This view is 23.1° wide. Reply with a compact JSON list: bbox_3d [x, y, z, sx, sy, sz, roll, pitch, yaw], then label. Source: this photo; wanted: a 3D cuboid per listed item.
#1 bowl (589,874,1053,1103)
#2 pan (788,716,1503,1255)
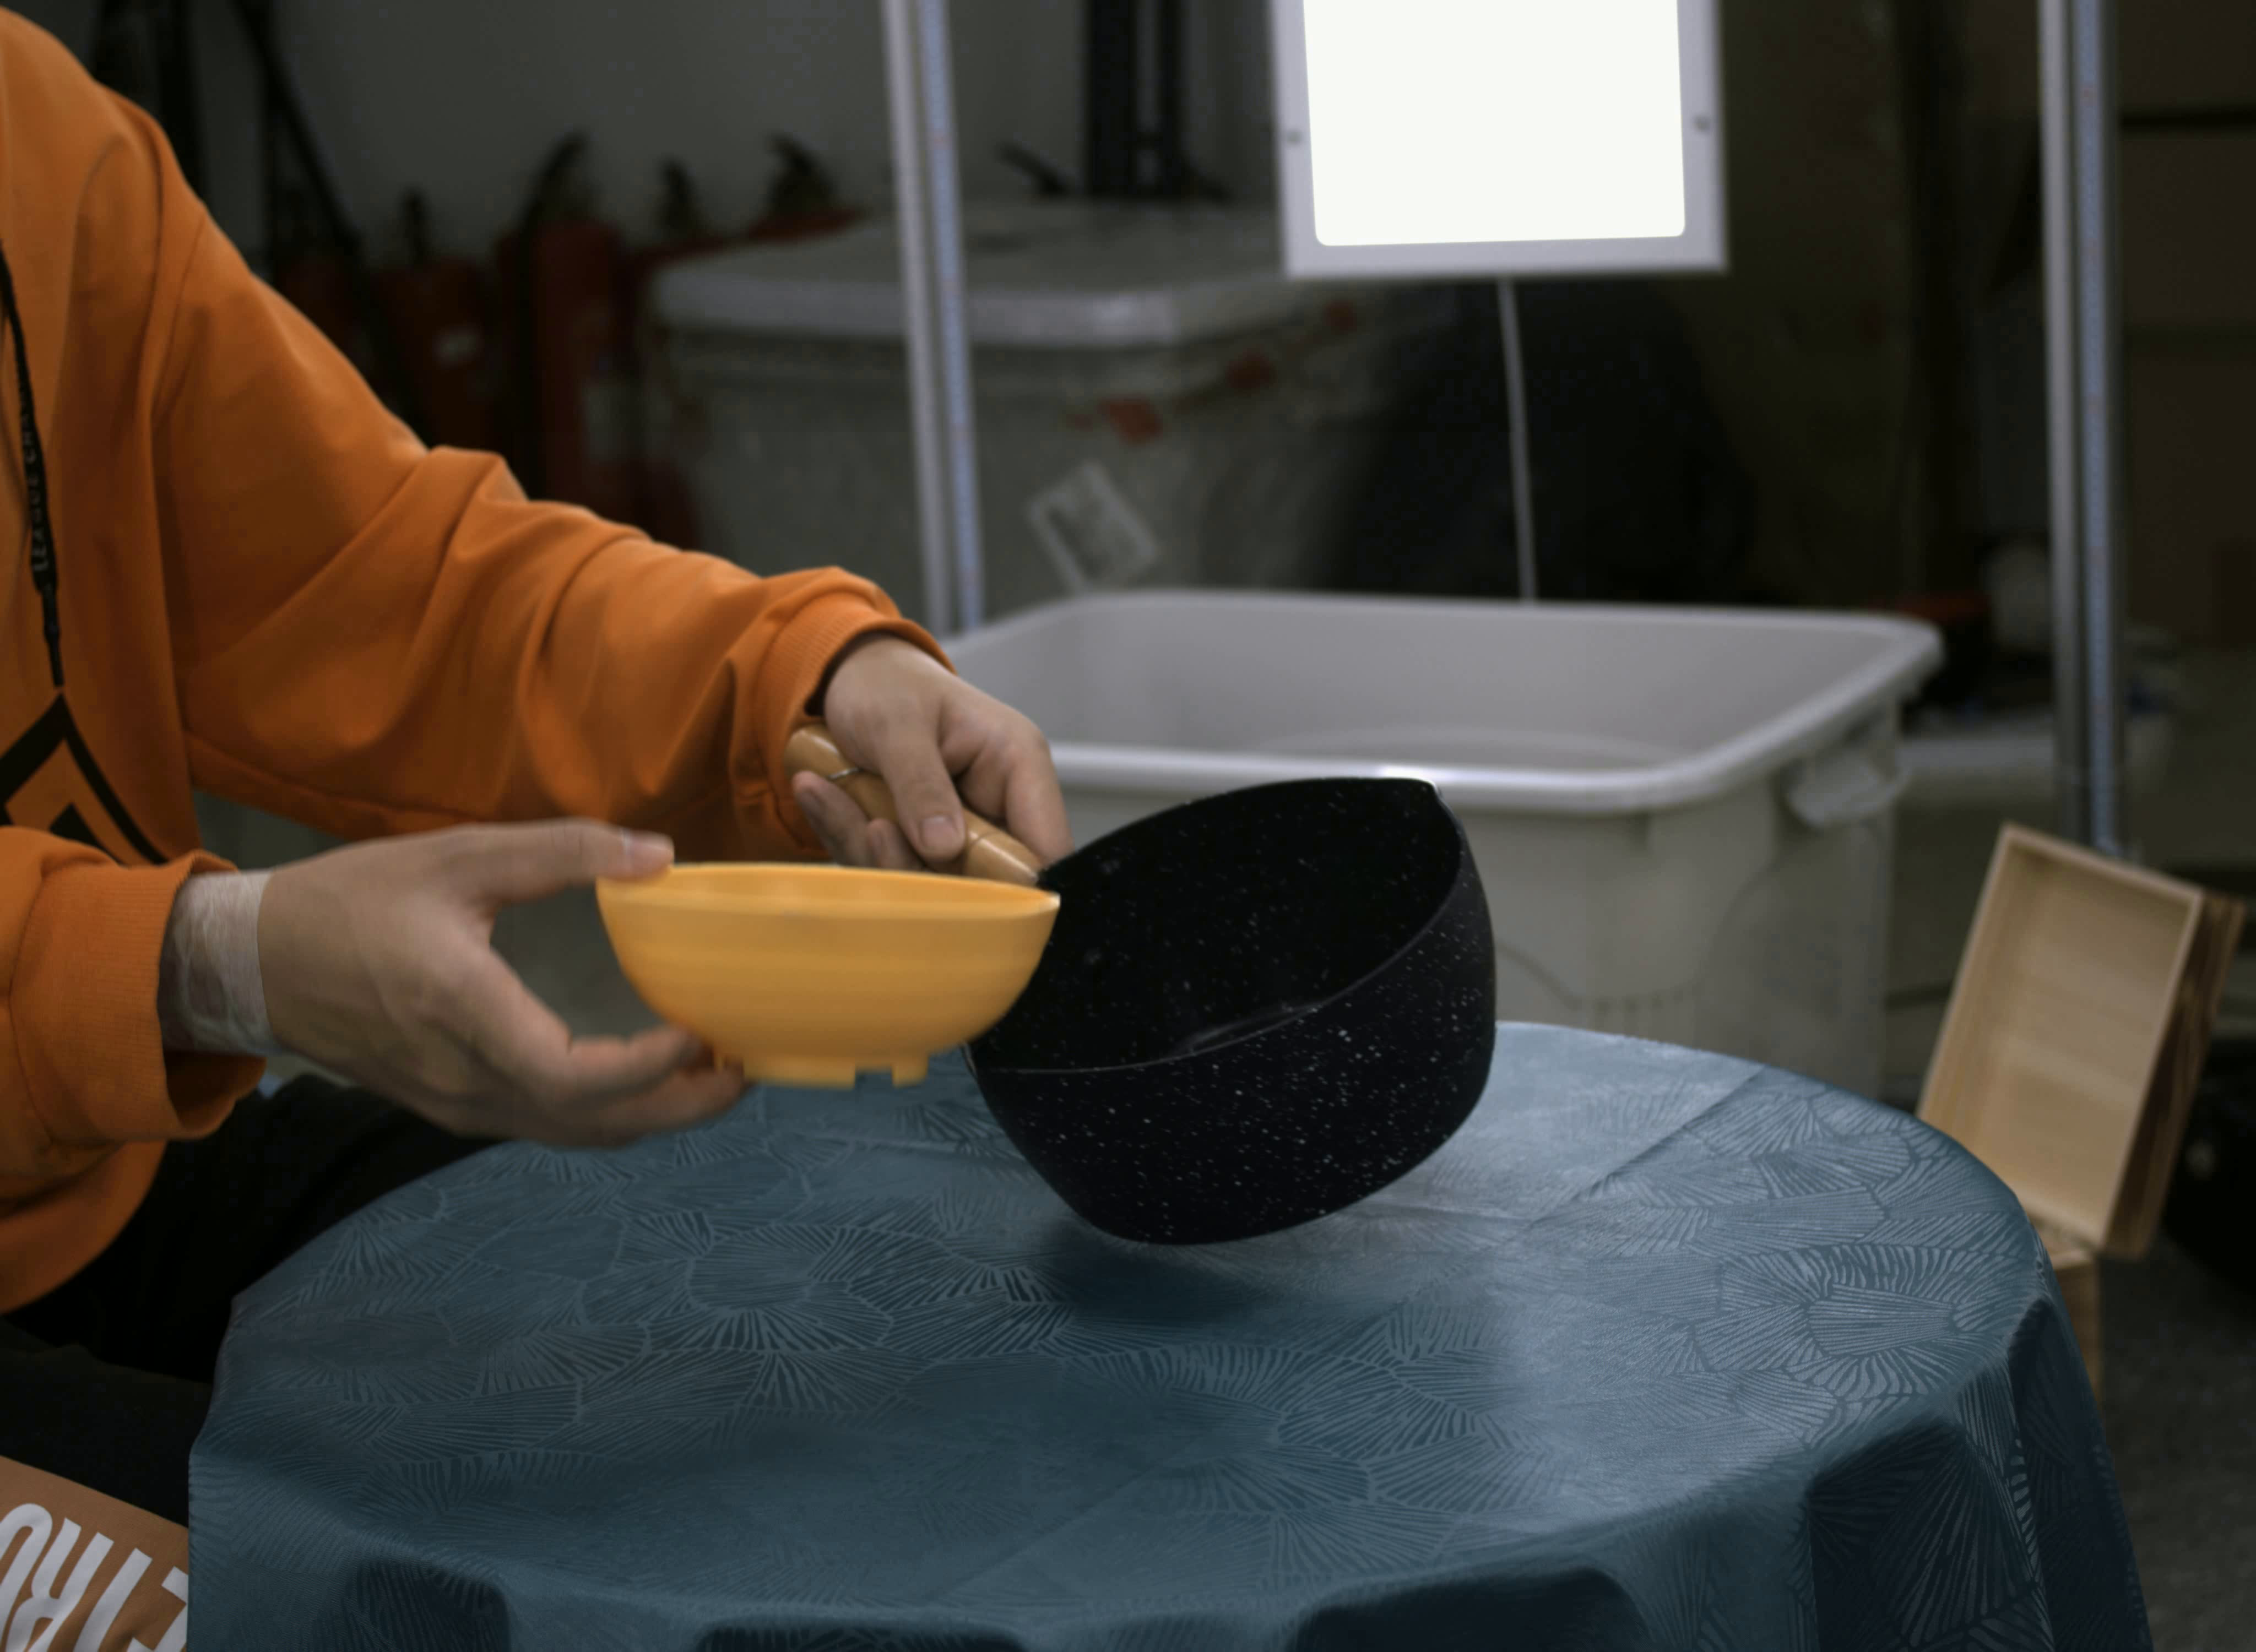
[{"bbox_3d":[-0.096,0.052,1.708,0.145,0.060,0.145,2,5,-2],"label":"bowl"},{"bbox_3d":[-0.009,0.042,1.914,0.204,0.108,0.349,-34,29,-24],"label":"pan"}]
